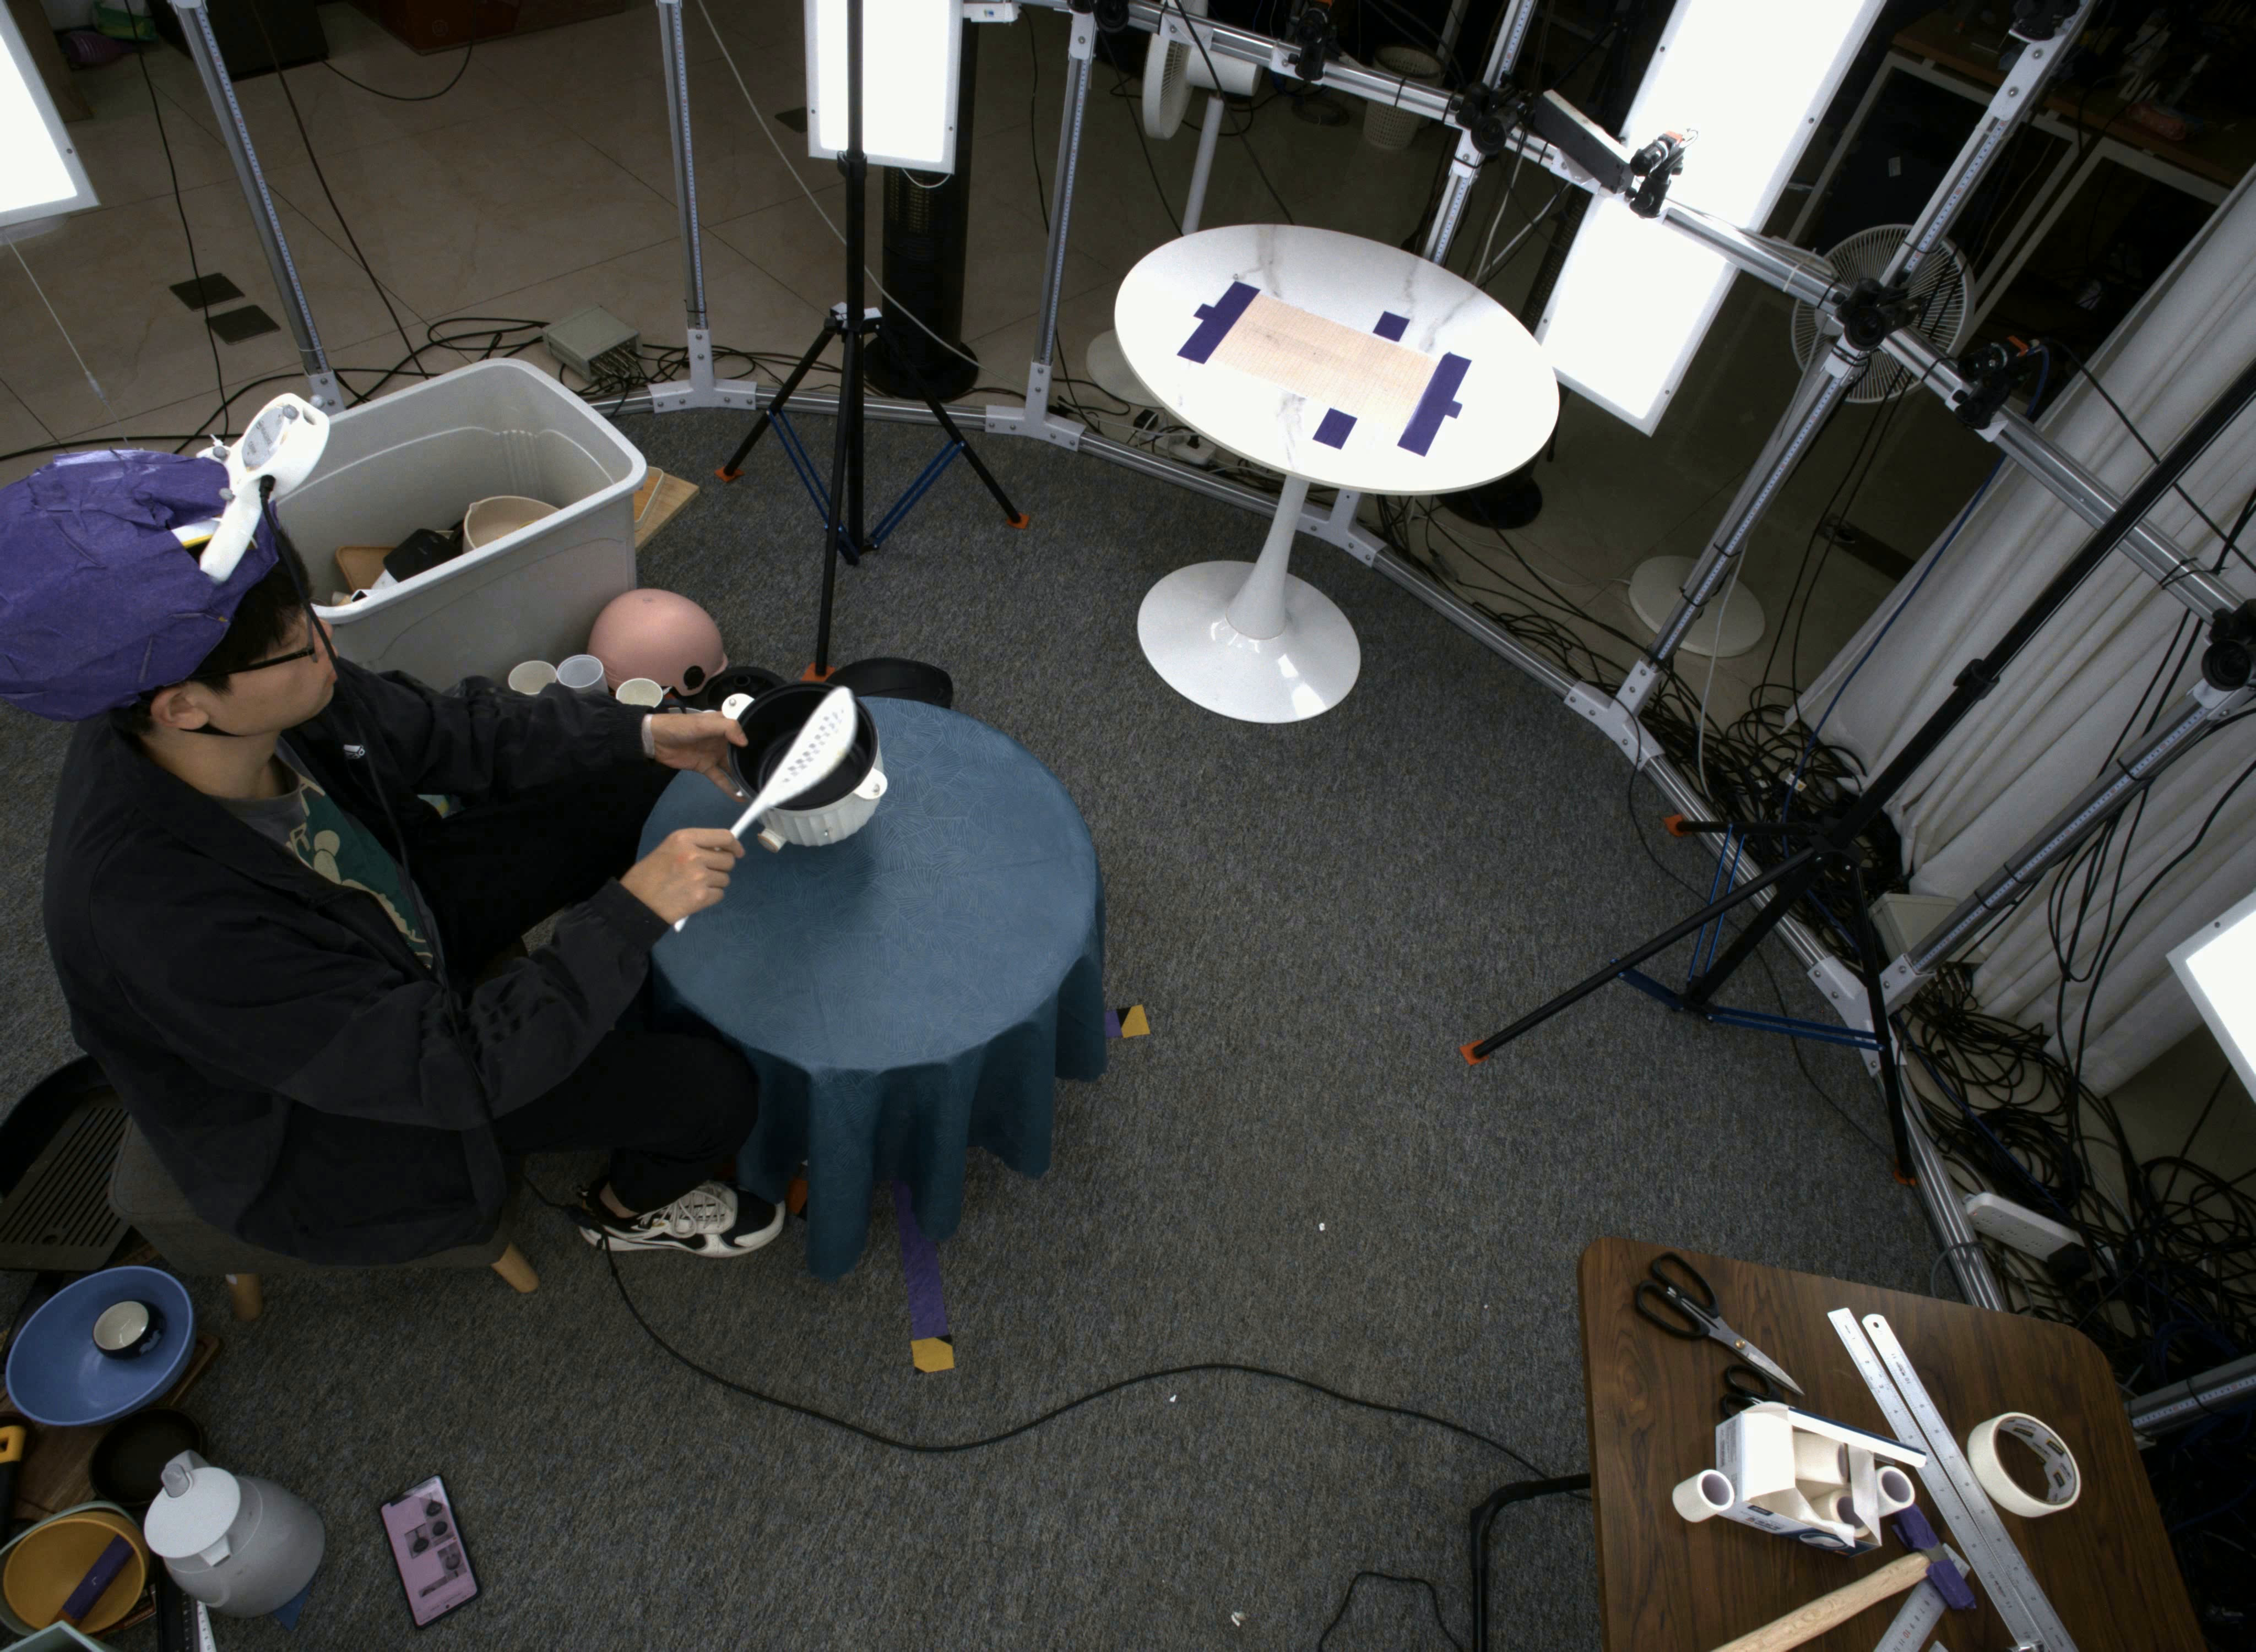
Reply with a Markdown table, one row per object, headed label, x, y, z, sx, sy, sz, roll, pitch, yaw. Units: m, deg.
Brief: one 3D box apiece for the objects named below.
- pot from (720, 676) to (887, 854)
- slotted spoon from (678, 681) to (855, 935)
| label | x | y | z | sx | sy | sz | roll | pitch | yaw |
| --- | --- | --- | --- | --- | --- | --- | --- | --- | --- |
| pot | -0.399 | -0.067 | 1.619 | 0.236 | 0.145 | 0.190 | 28 | 62 | 10 |
| slotted spoon | -0.404 | -0.020 | 1.451 | 0.050 | 0.138 | 0.347 | 36 | 61 | 3 |
